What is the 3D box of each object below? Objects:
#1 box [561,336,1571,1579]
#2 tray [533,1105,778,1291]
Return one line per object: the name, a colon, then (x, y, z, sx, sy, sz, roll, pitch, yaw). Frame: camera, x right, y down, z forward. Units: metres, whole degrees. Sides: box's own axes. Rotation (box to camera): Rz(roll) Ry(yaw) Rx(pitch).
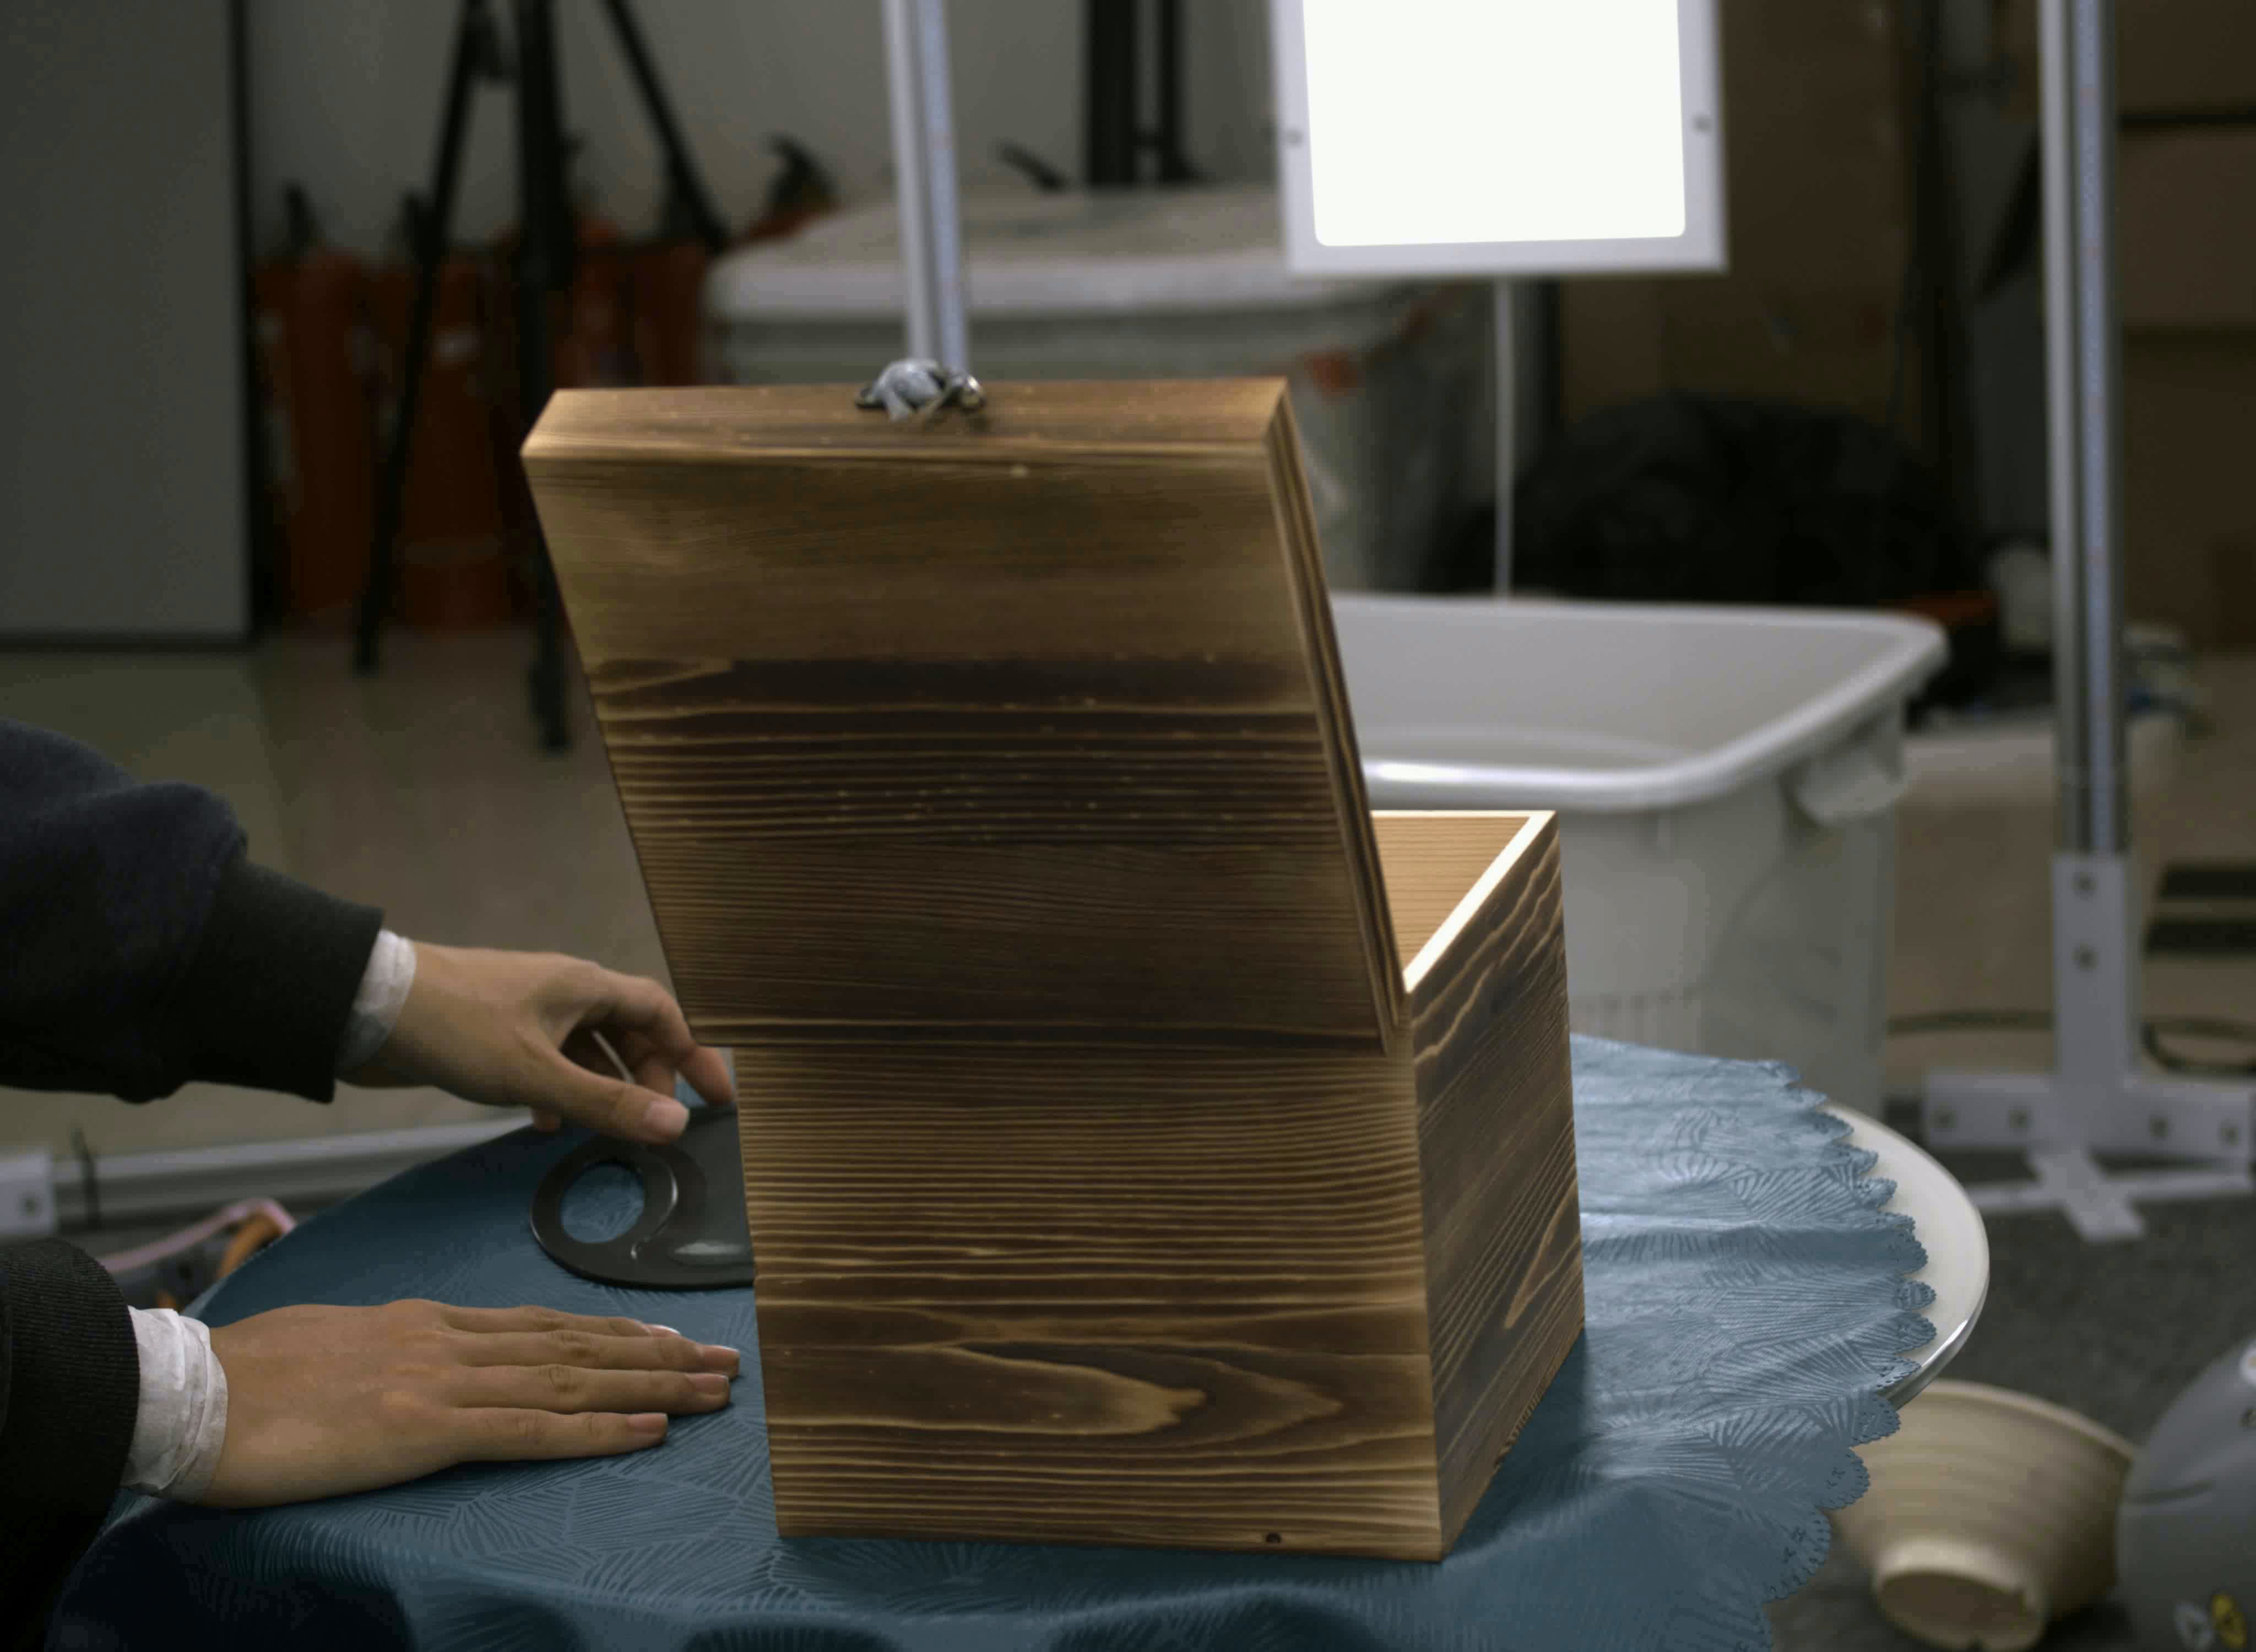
box: (-0.004, 0.022, 1.572, 0.211, 0.377, 0.317, 1, 16, 17)
tray: (-0.047, 0.119, 1.931, 0.324, 0.010, 0.211, -5, 14, -1)
